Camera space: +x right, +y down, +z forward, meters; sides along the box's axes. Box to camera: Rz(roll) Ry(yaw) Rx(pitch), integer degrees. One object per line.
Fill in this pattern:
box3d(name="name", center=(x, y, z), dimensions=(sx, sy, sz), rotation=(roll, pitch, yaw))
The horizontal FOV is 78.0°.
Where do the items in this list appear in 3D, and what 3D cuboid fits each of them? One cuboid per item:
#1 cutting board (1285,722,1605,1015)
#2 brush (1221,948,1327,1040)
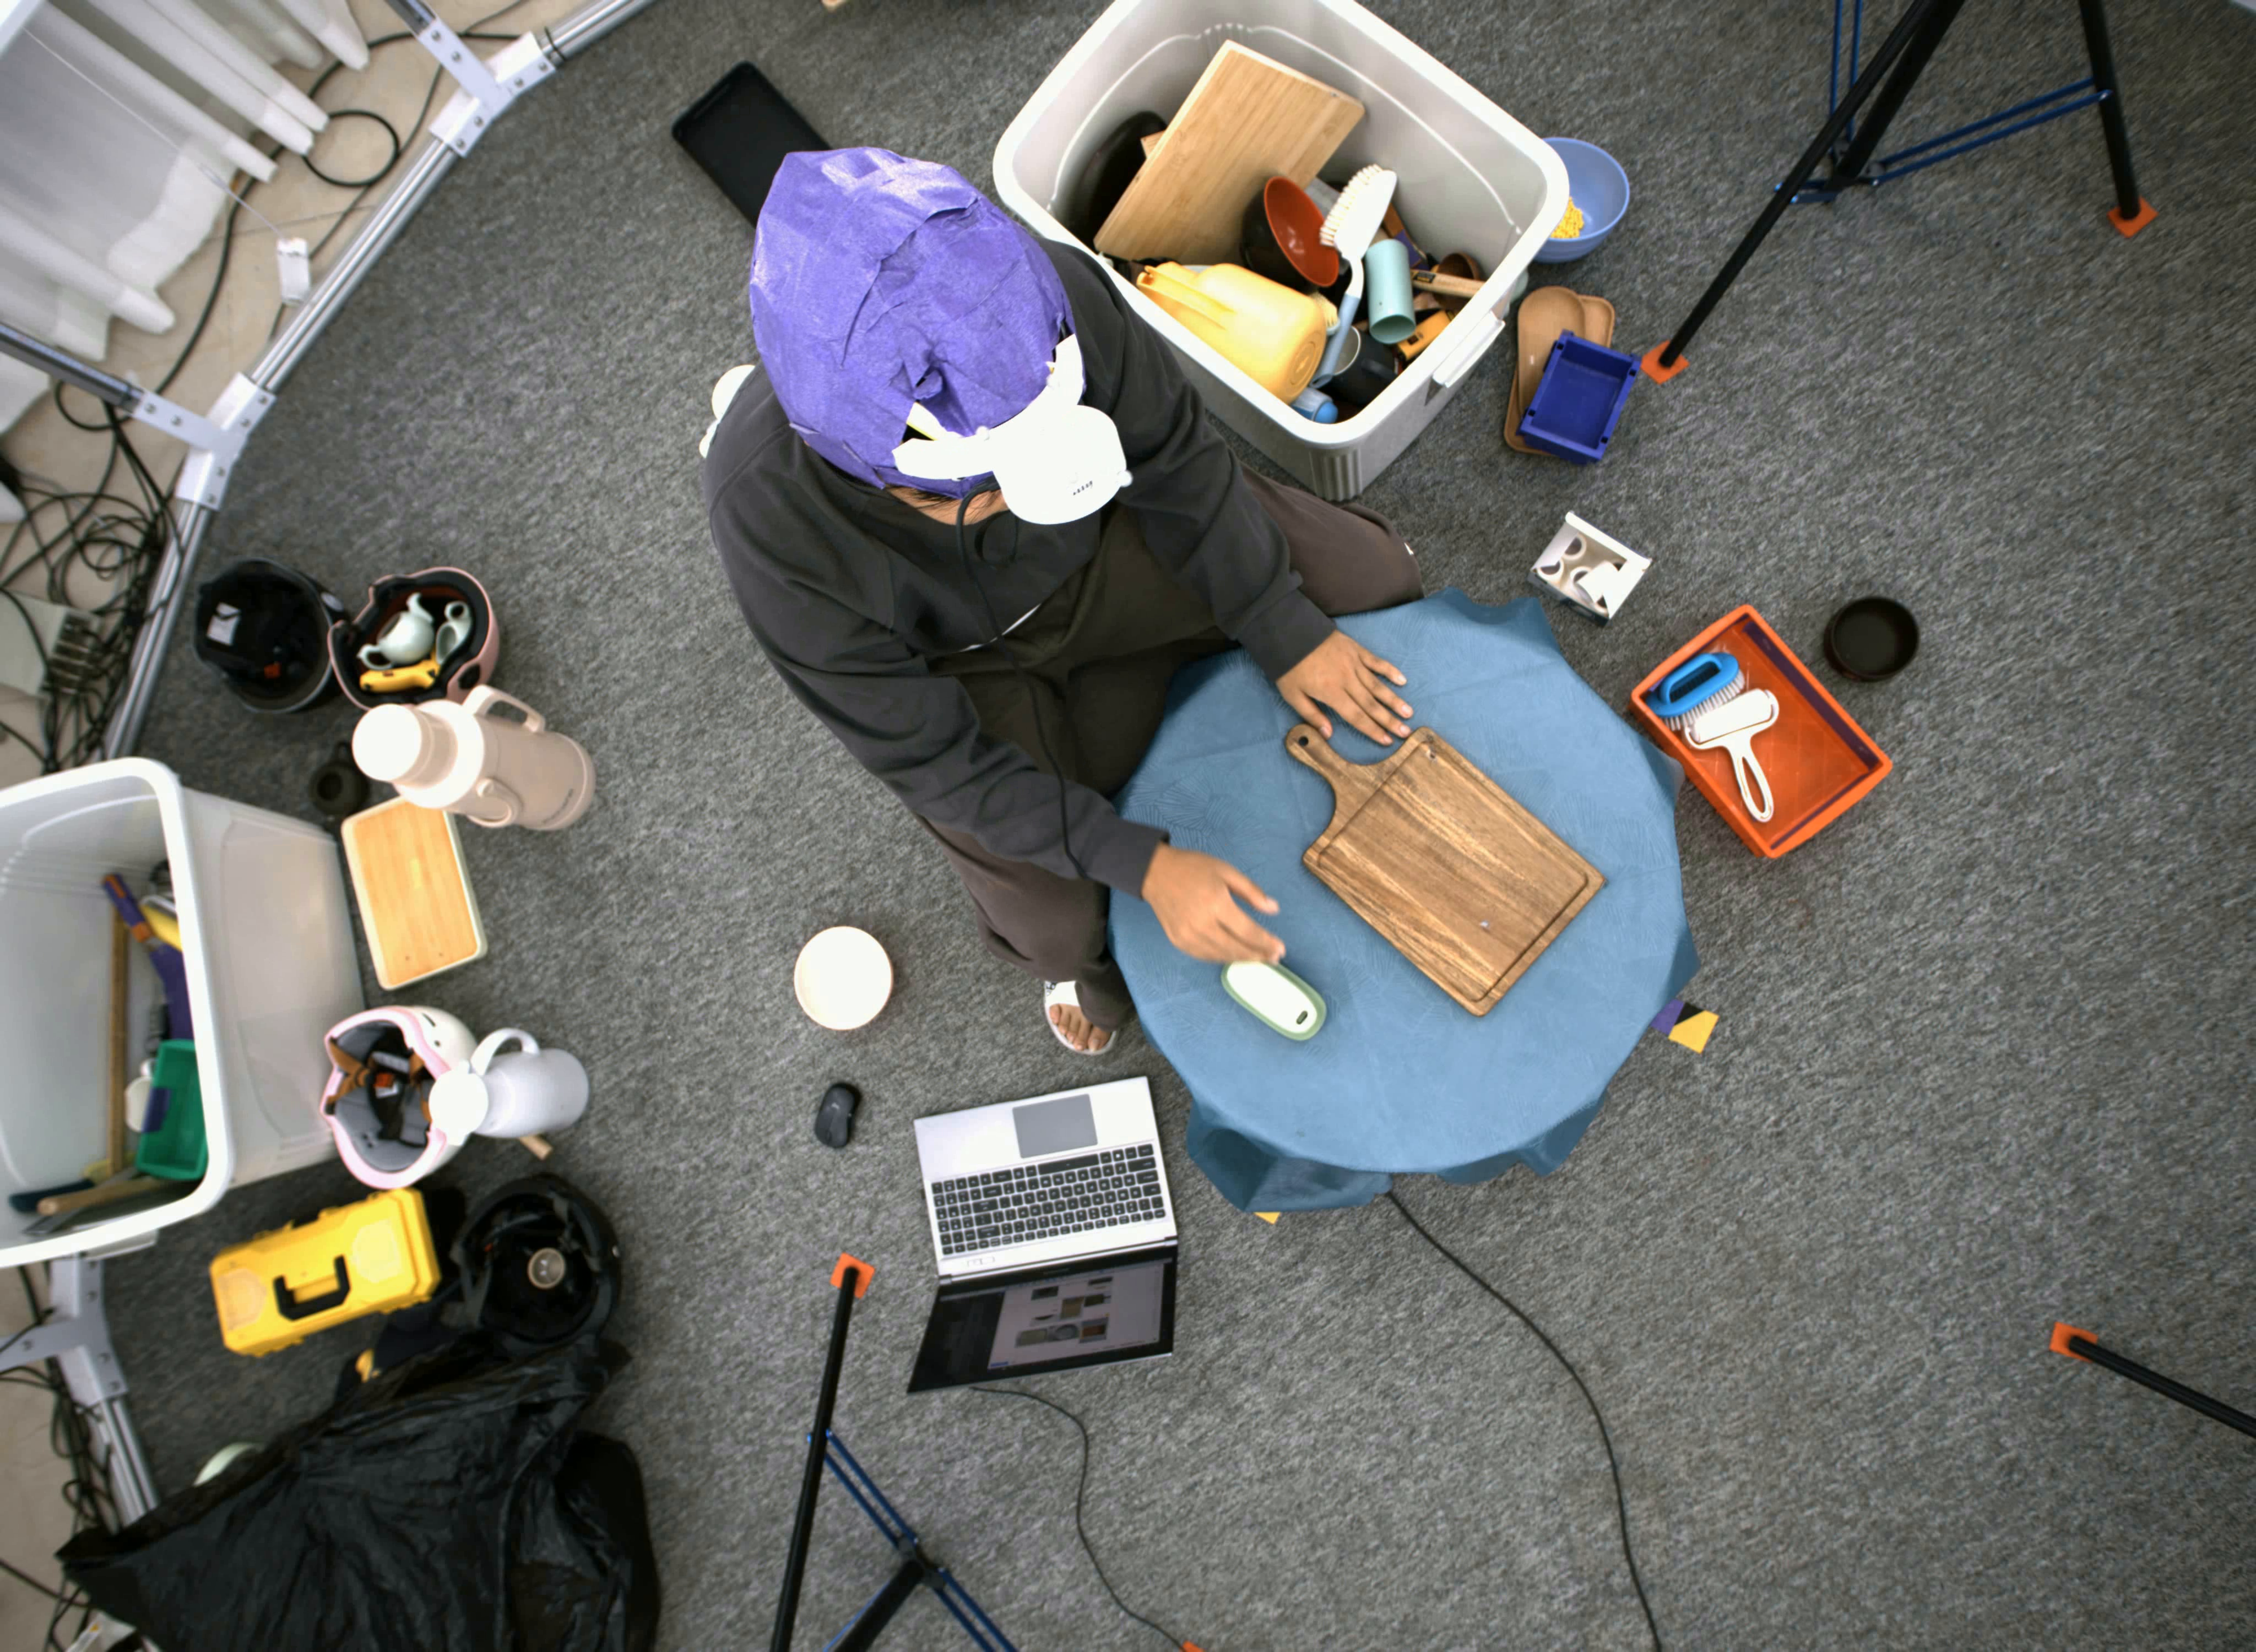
box3d(name="cutting board", center=(0.303, 0.009, 1.448), dimensions=(0.350, 0.023, 0.202), rotation=(43, 95, 11))
box3d(name="brush", center=(0.153, 0.176, 1.450), dimensions=(0.122, 0.076, 0.059), rotation=(35, 91, 25))
